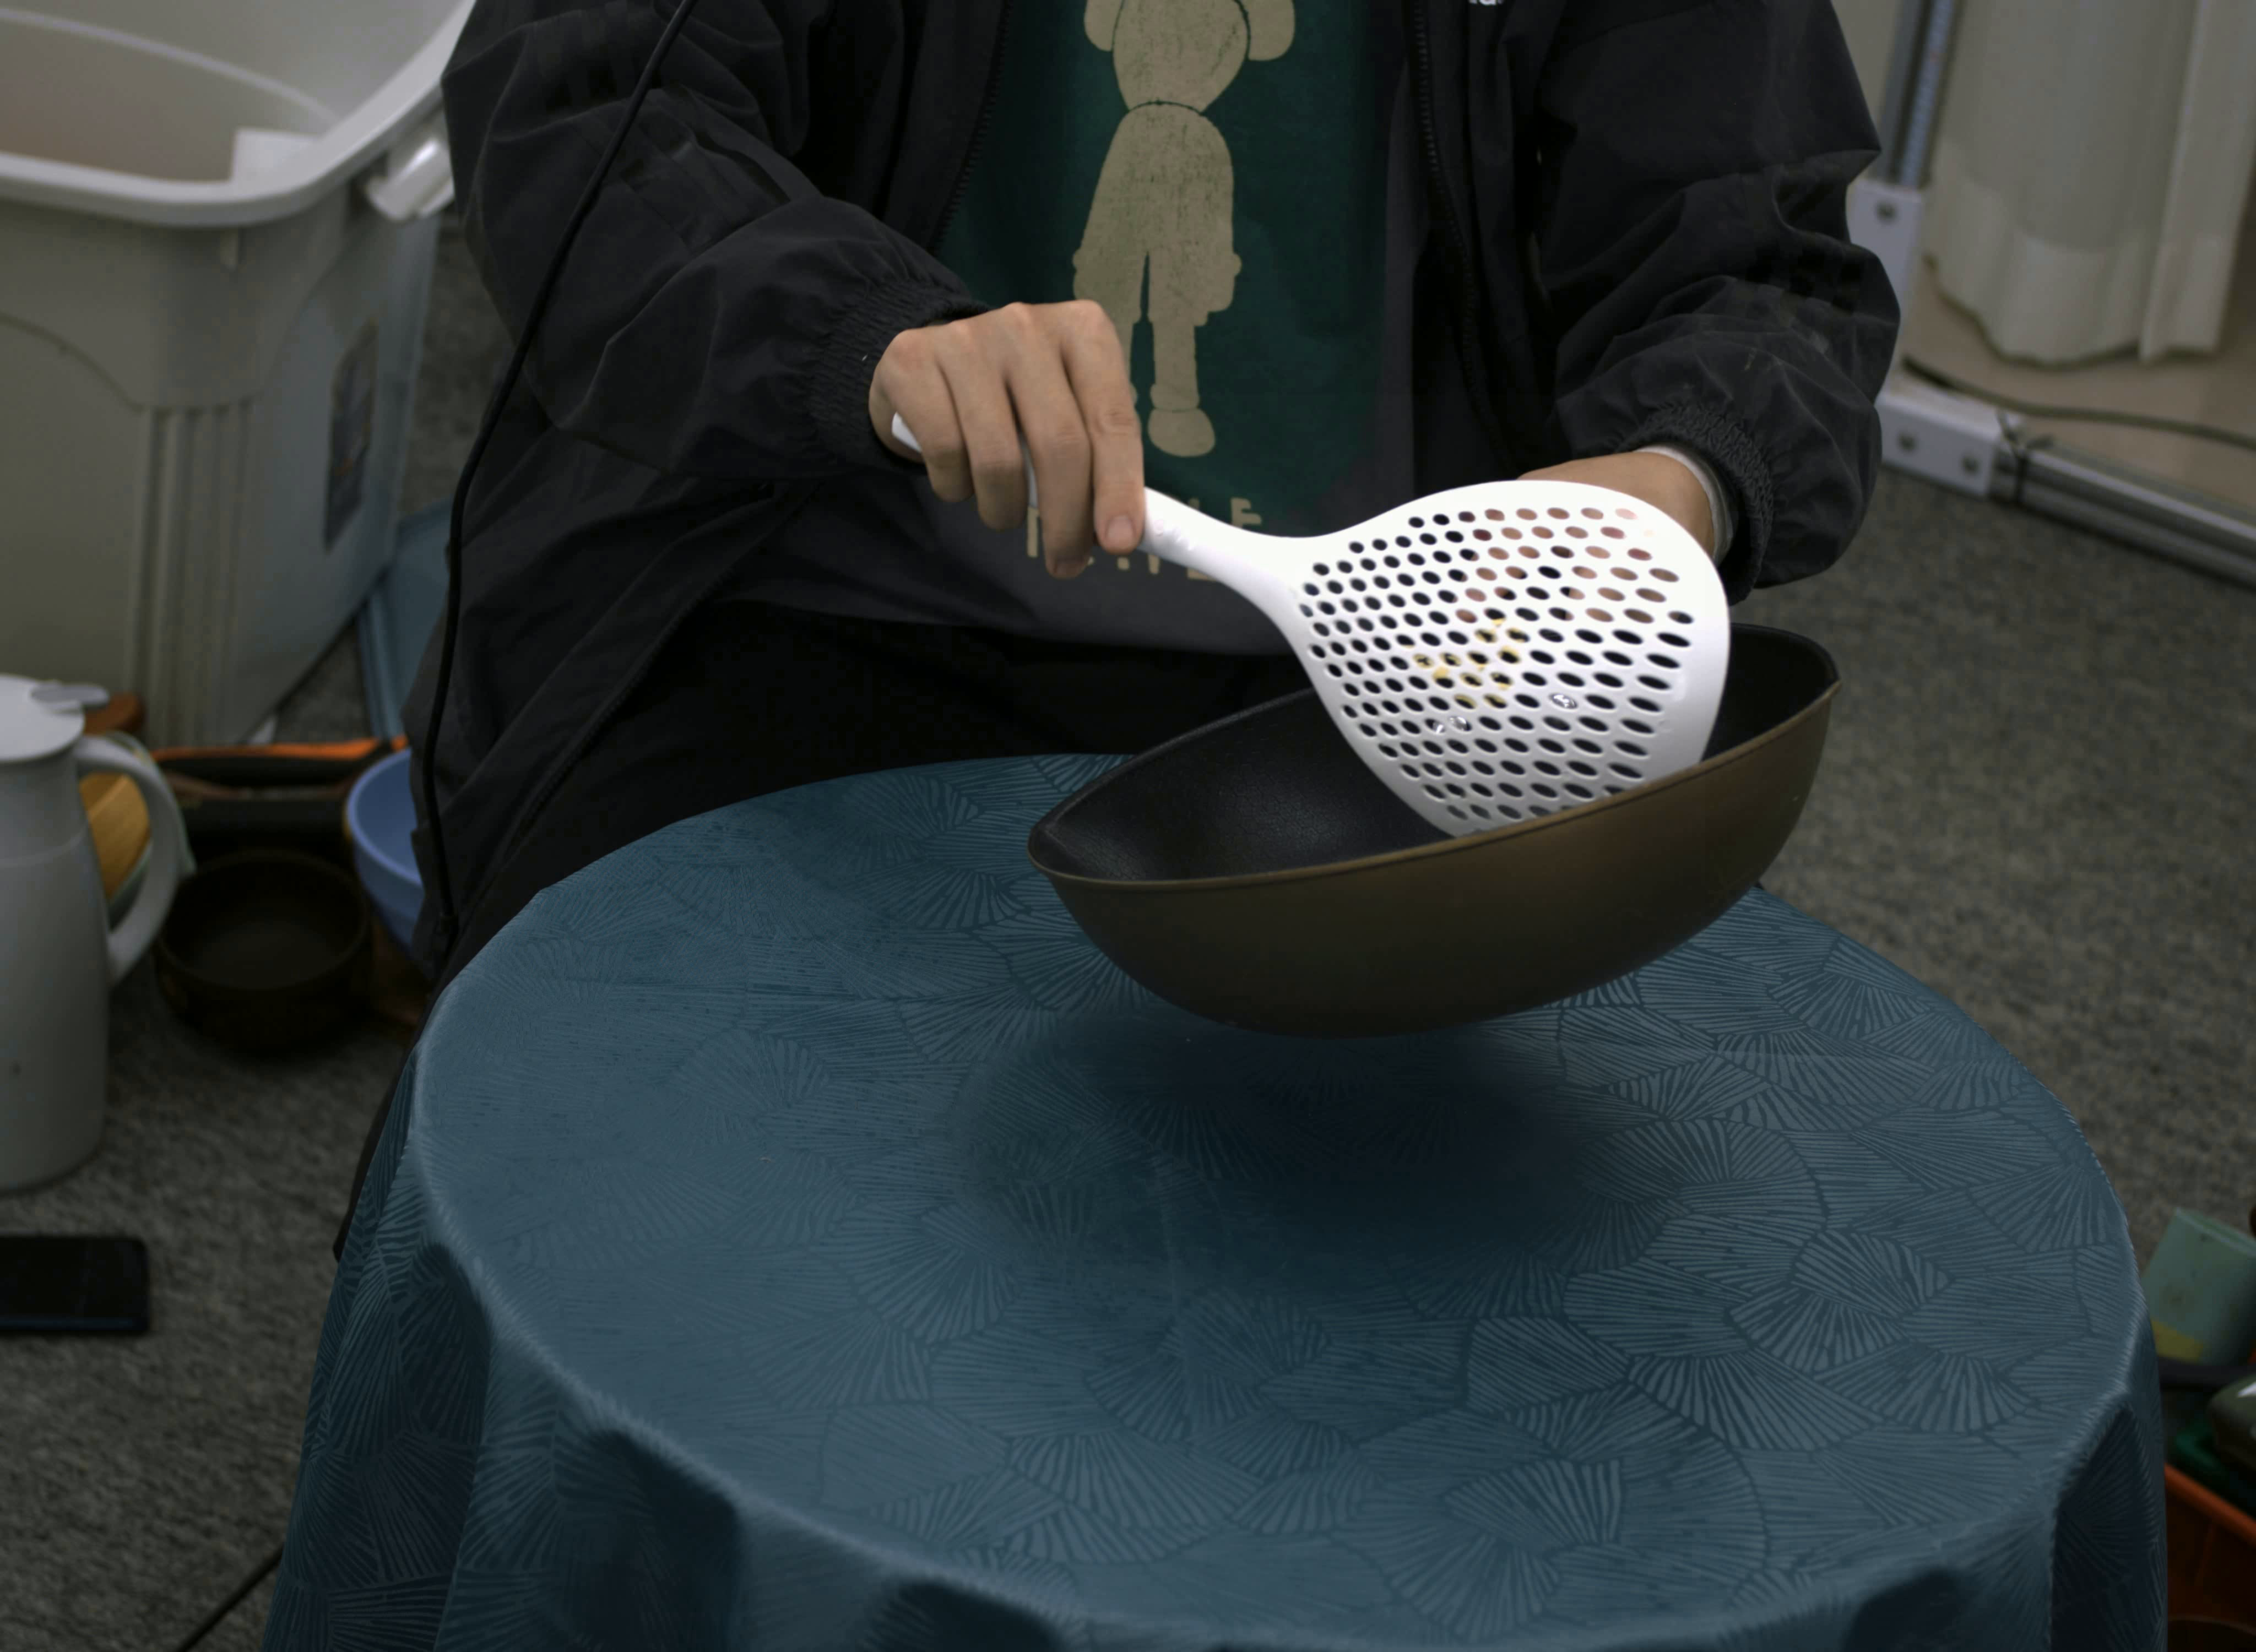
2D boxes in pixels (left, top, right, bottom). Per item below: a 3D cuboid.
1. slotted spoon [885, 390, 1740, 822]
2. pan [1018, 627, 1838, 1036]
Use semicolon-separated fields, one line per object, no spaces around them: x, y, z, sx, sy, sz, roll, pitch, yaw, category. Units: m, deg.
0.055;-0.088;1.868;0.350;0.137;0.050;23;10;35;slotted spoon
0.130;-0.016;1.909;0.288;0.087;0.463;-10;13;17;pan
